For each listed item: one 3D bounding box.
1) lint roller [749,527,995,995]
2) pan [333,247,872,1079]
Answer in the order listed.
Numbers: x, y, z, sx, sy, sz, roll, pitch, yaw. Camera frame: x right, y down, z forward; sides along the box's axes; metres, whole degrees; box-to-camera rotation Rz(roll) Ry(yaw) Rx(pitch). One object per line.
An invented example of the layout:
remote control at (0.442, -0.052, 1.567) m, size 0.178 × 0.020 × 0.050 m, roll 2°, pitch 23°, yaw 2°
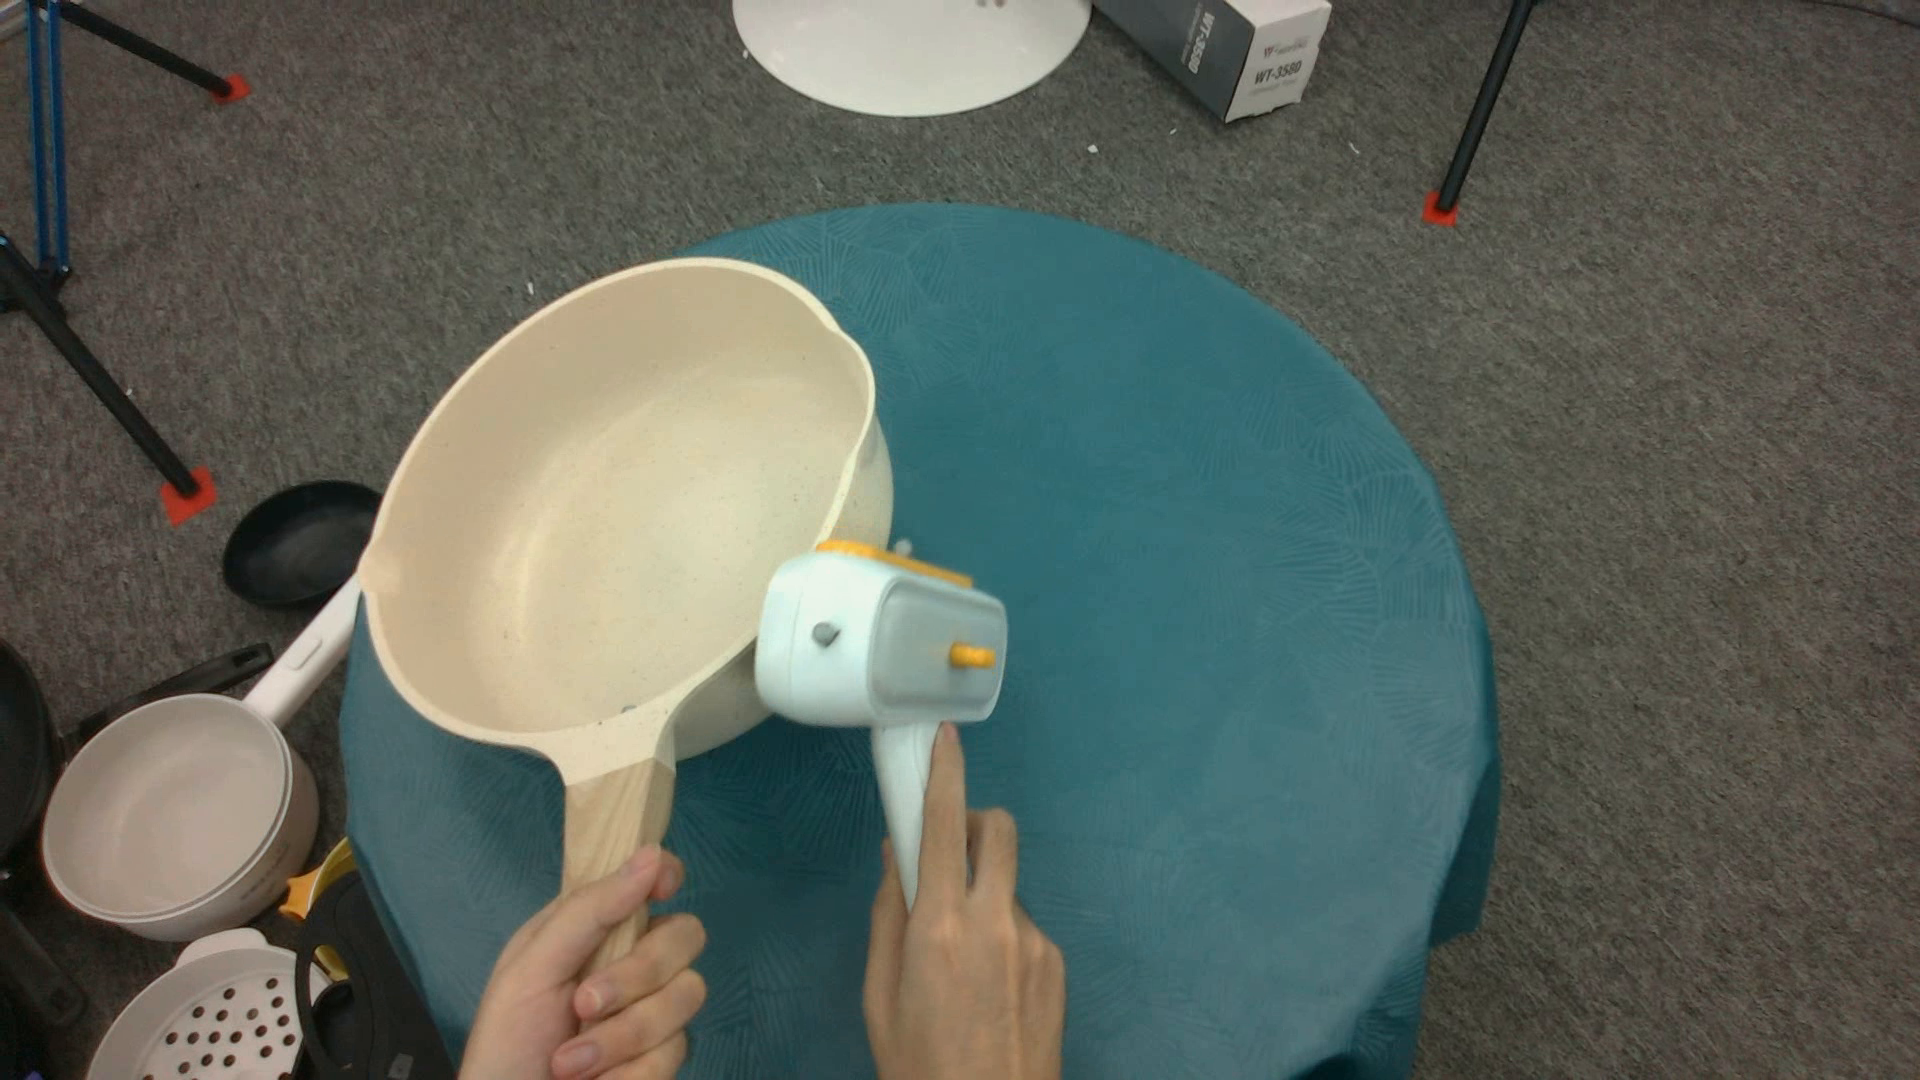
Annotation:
lint roller at (-0.022, 0.093, 0.579) m, size 0.074 × 0.193 × 0.192 m, roll -4°, pitch 86°, yaw 13°
pan at (-0.141, 0.057, 0.594) m, size 0.263 × 0.102 × 0.436 m, roll -19°, pitch 56°, yaw 8°
